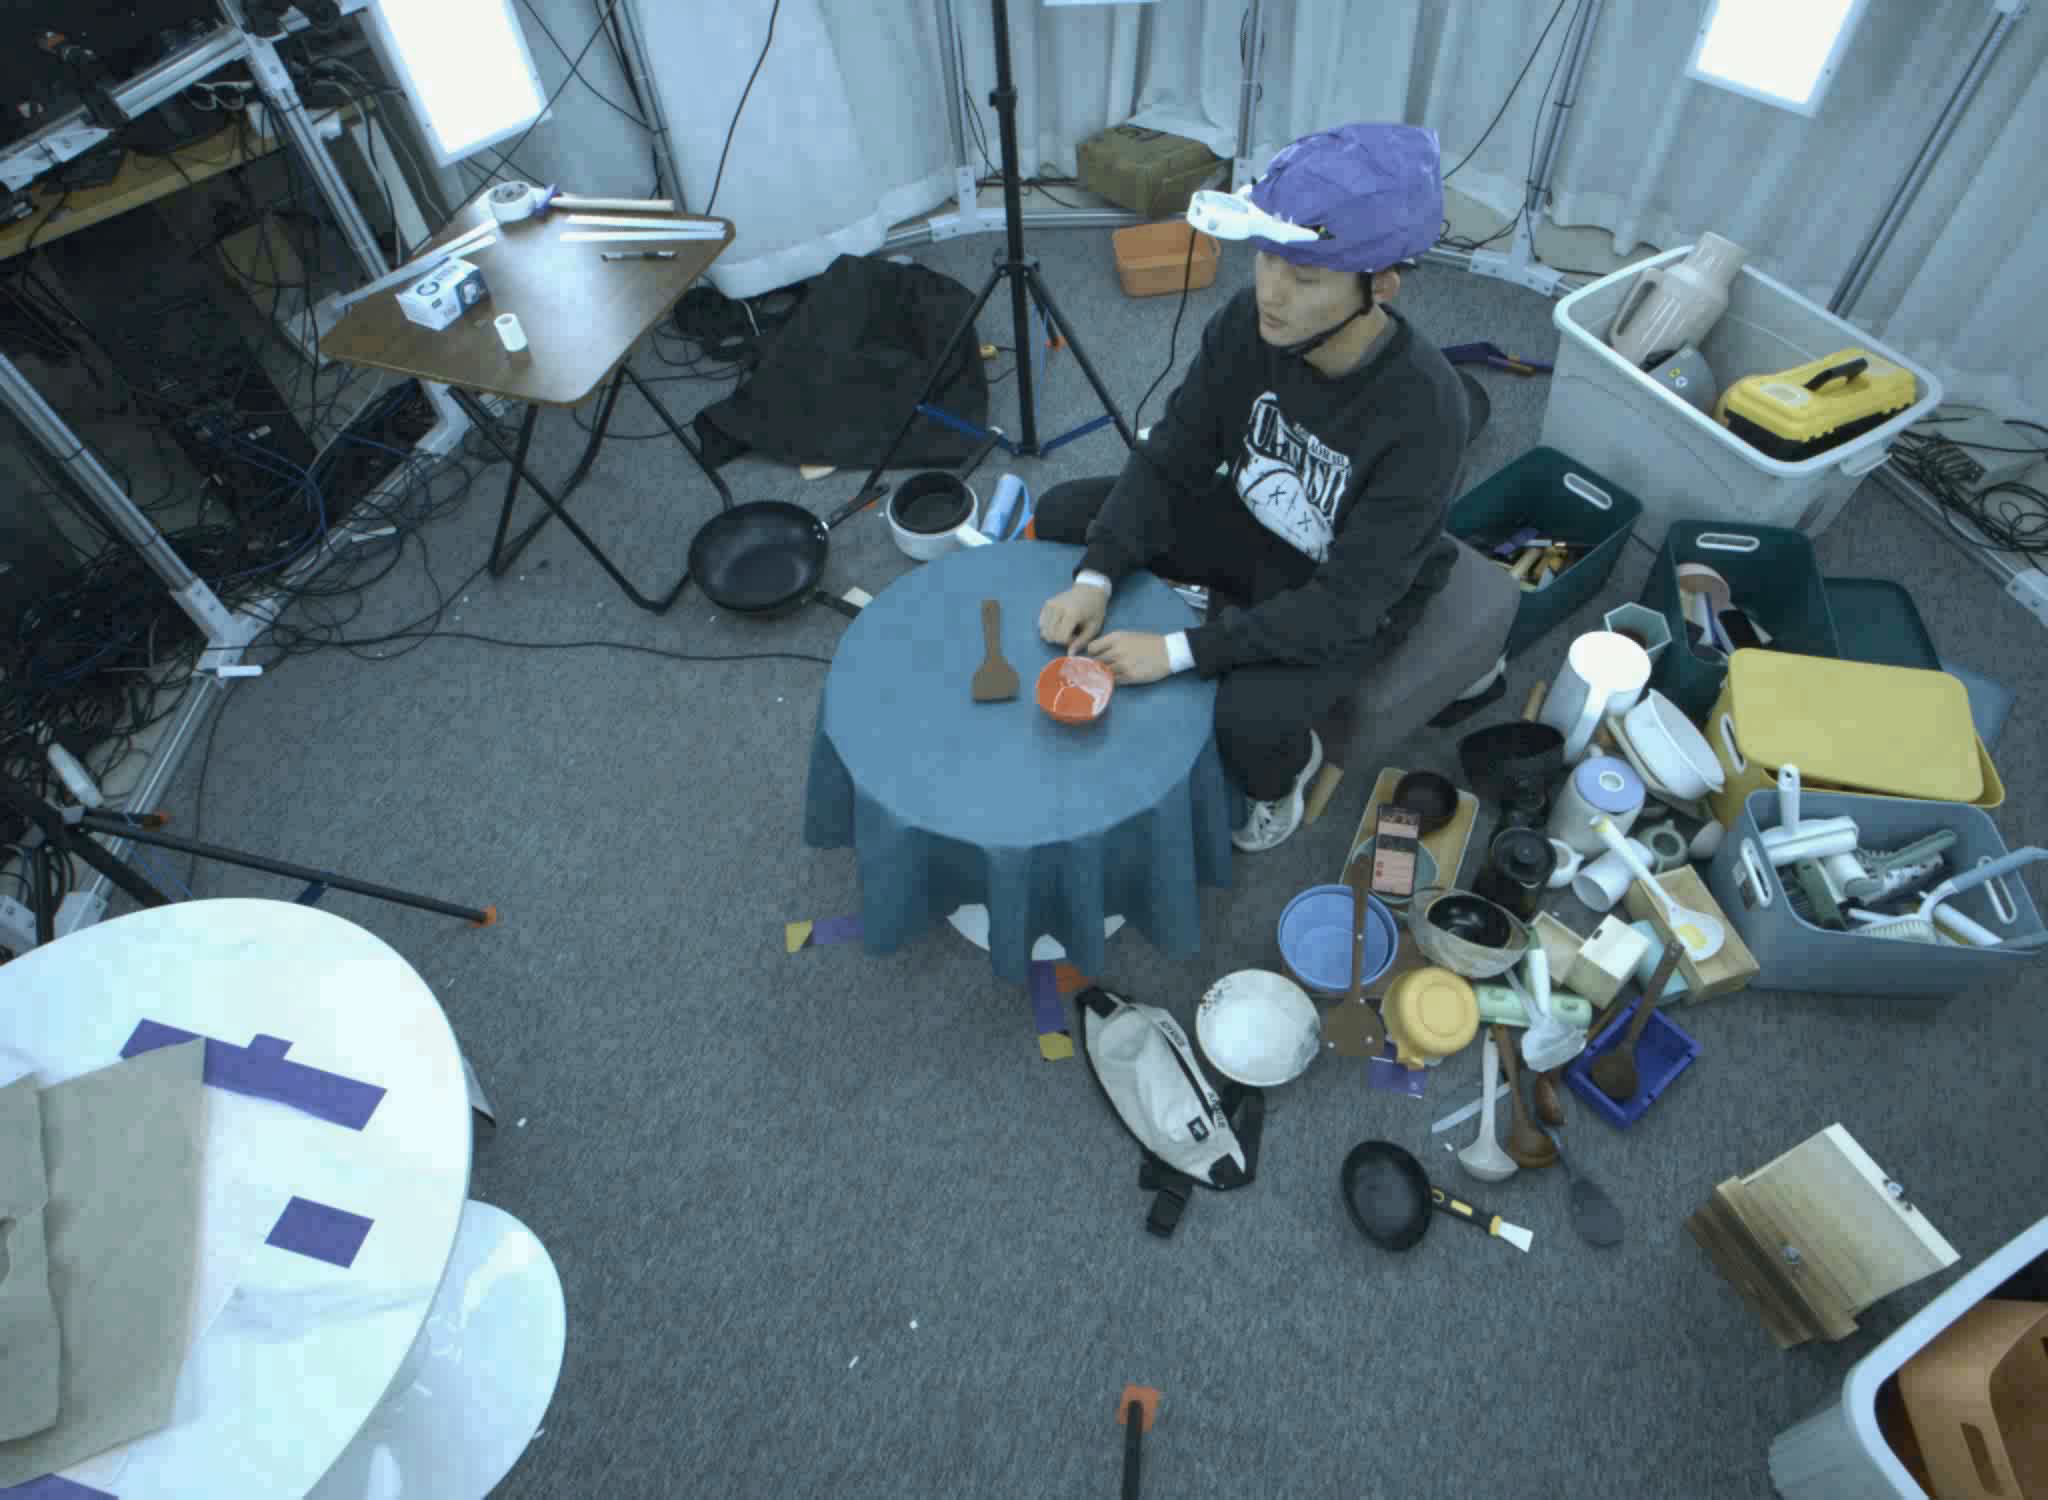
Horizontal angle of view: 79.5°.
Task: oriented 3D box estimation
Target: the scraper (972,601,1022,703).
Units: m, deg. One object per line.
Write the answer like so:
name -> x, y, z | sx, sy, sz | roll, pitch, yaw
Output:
scraper -> -0.046, -0.154, 1.903 | 0.076, 0.011, 0.208 | -4, 54, -2

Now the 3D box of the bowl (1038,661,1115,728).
bowl -> 0.078, -0.074, 1.818 | 0.119, 0.052, 0.117 | -1, 54, 3
